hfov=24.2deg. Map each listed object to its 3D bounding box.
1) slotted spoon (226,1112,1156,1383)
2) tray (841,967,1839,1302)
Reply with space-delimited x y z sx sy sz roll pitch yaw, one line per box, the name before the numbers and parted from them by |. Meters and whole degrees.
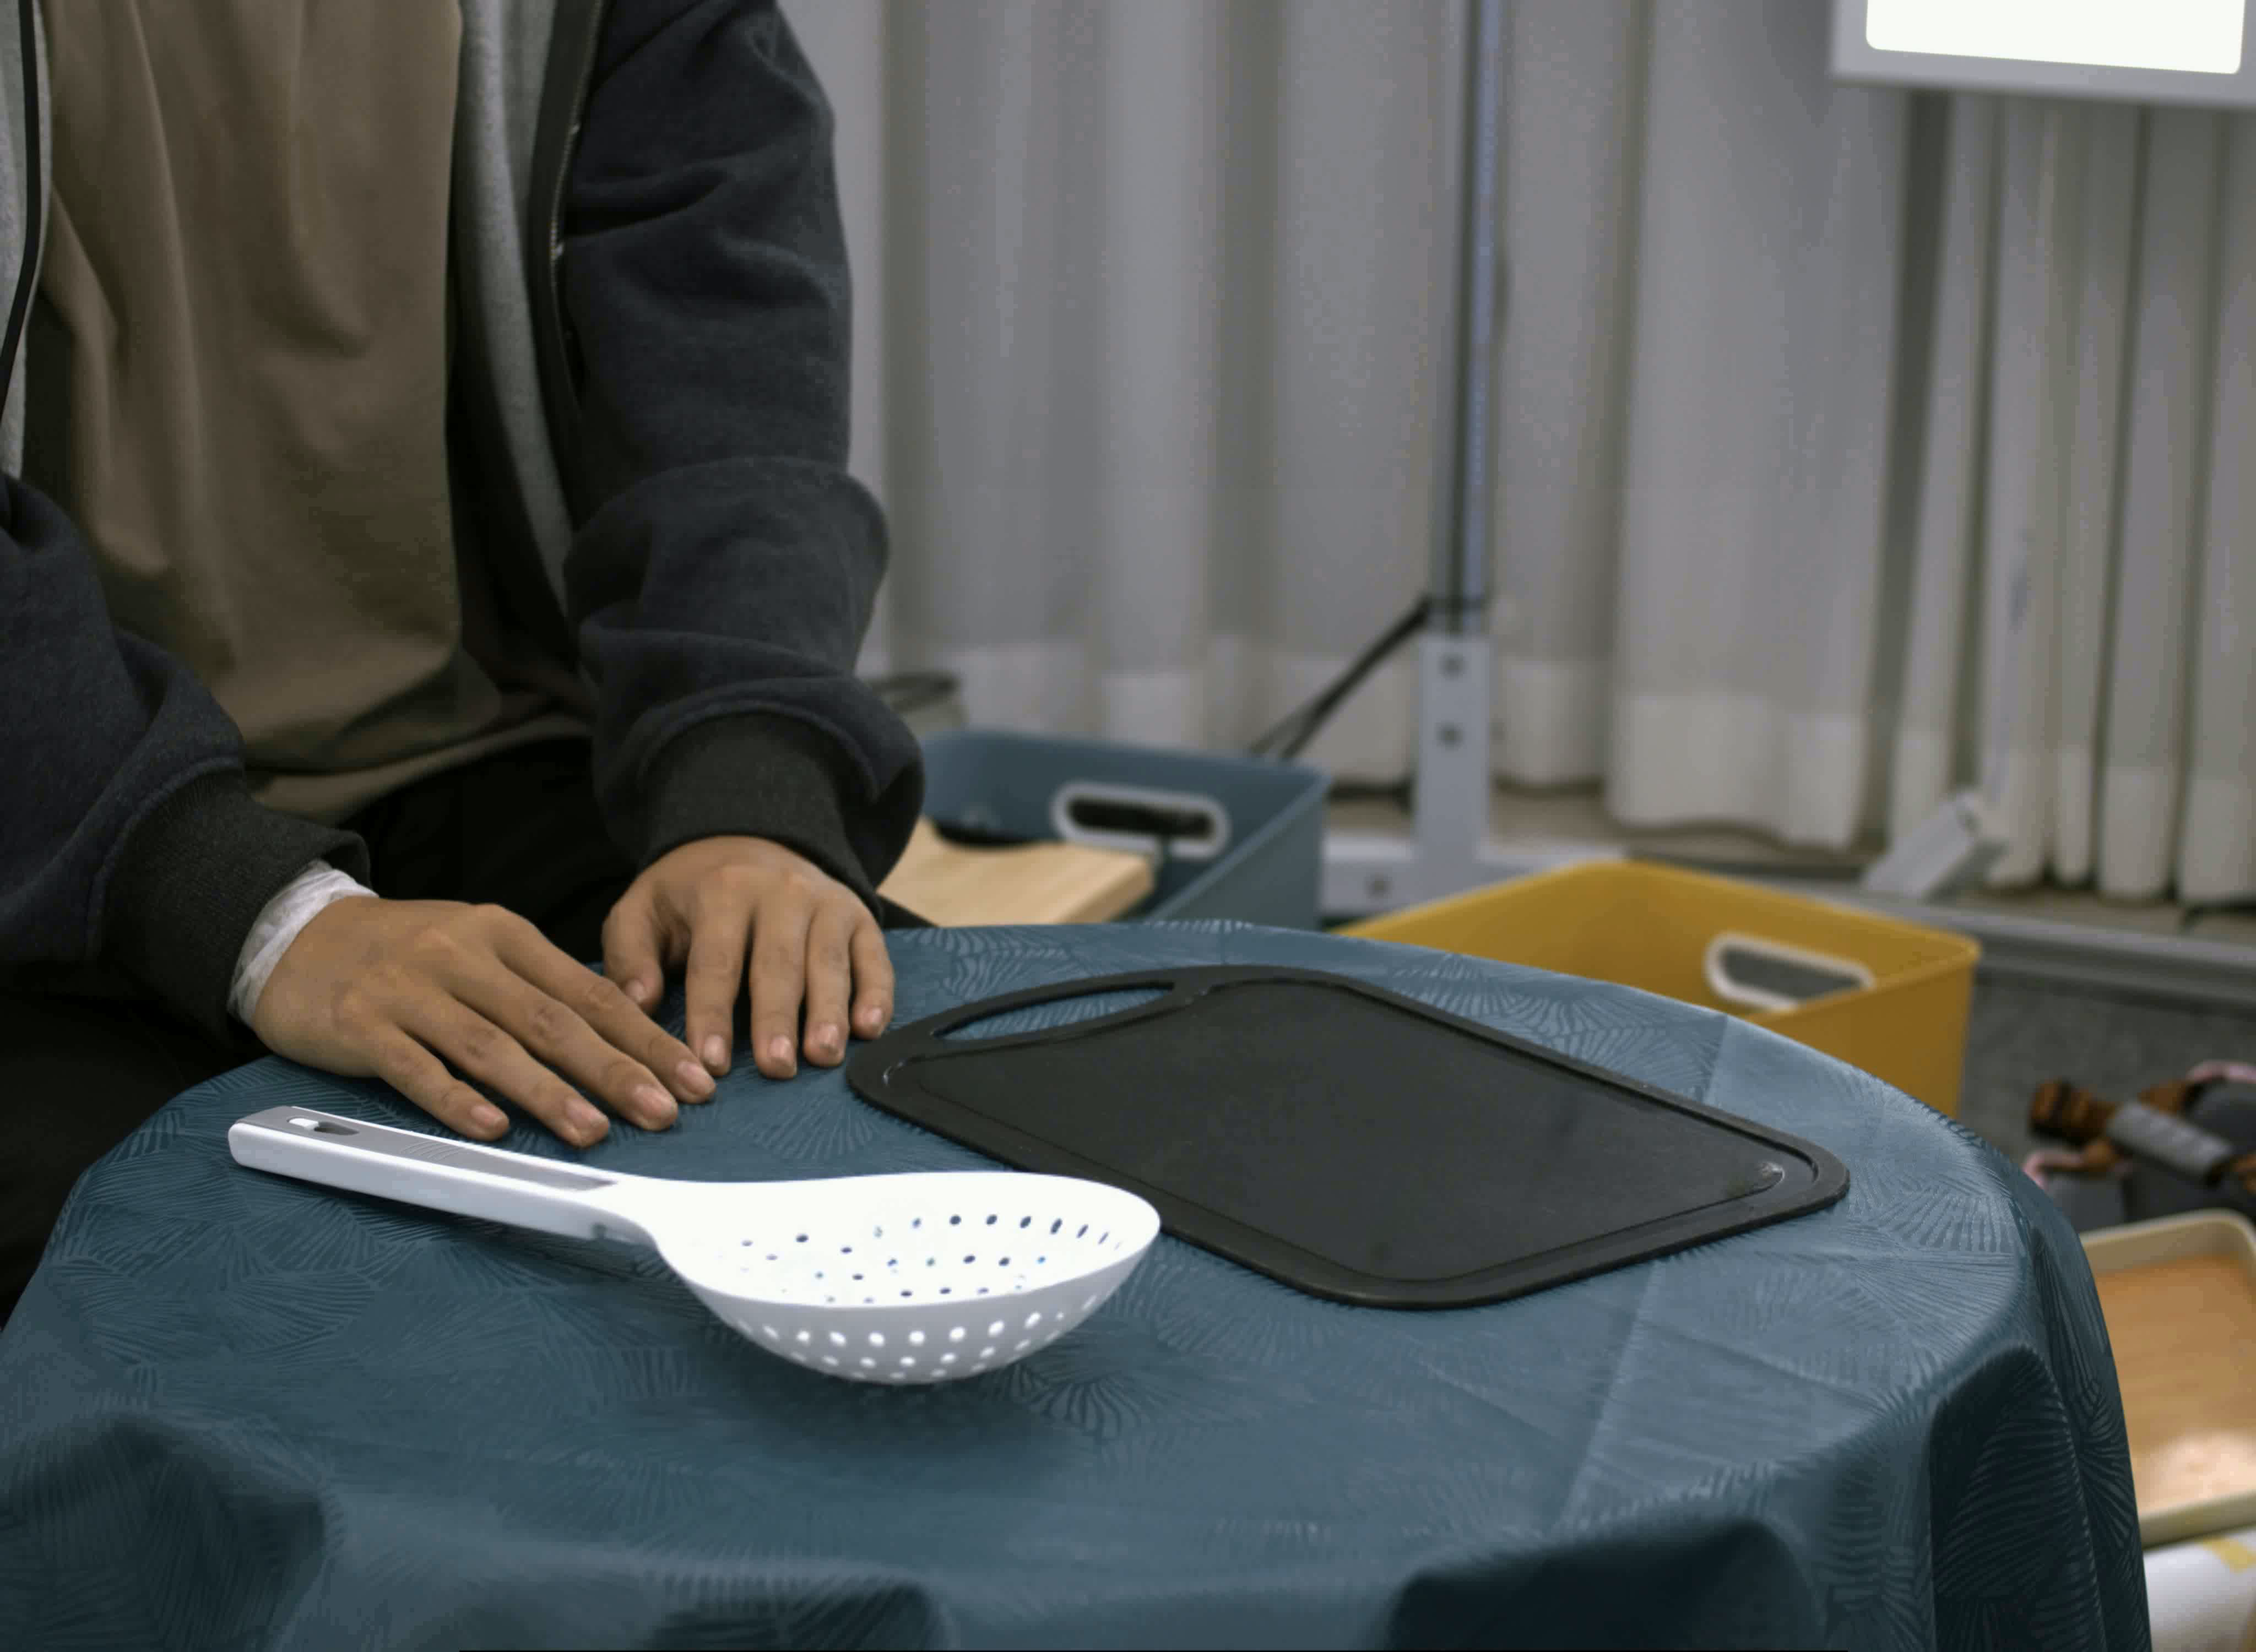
slotted spoon | -0.141 0.112 1.532 0.345 0.046 0.137 12 17 38
tray | 0.057 0.092 1.688 0.212 0.010 0.321 -11 19 -37
